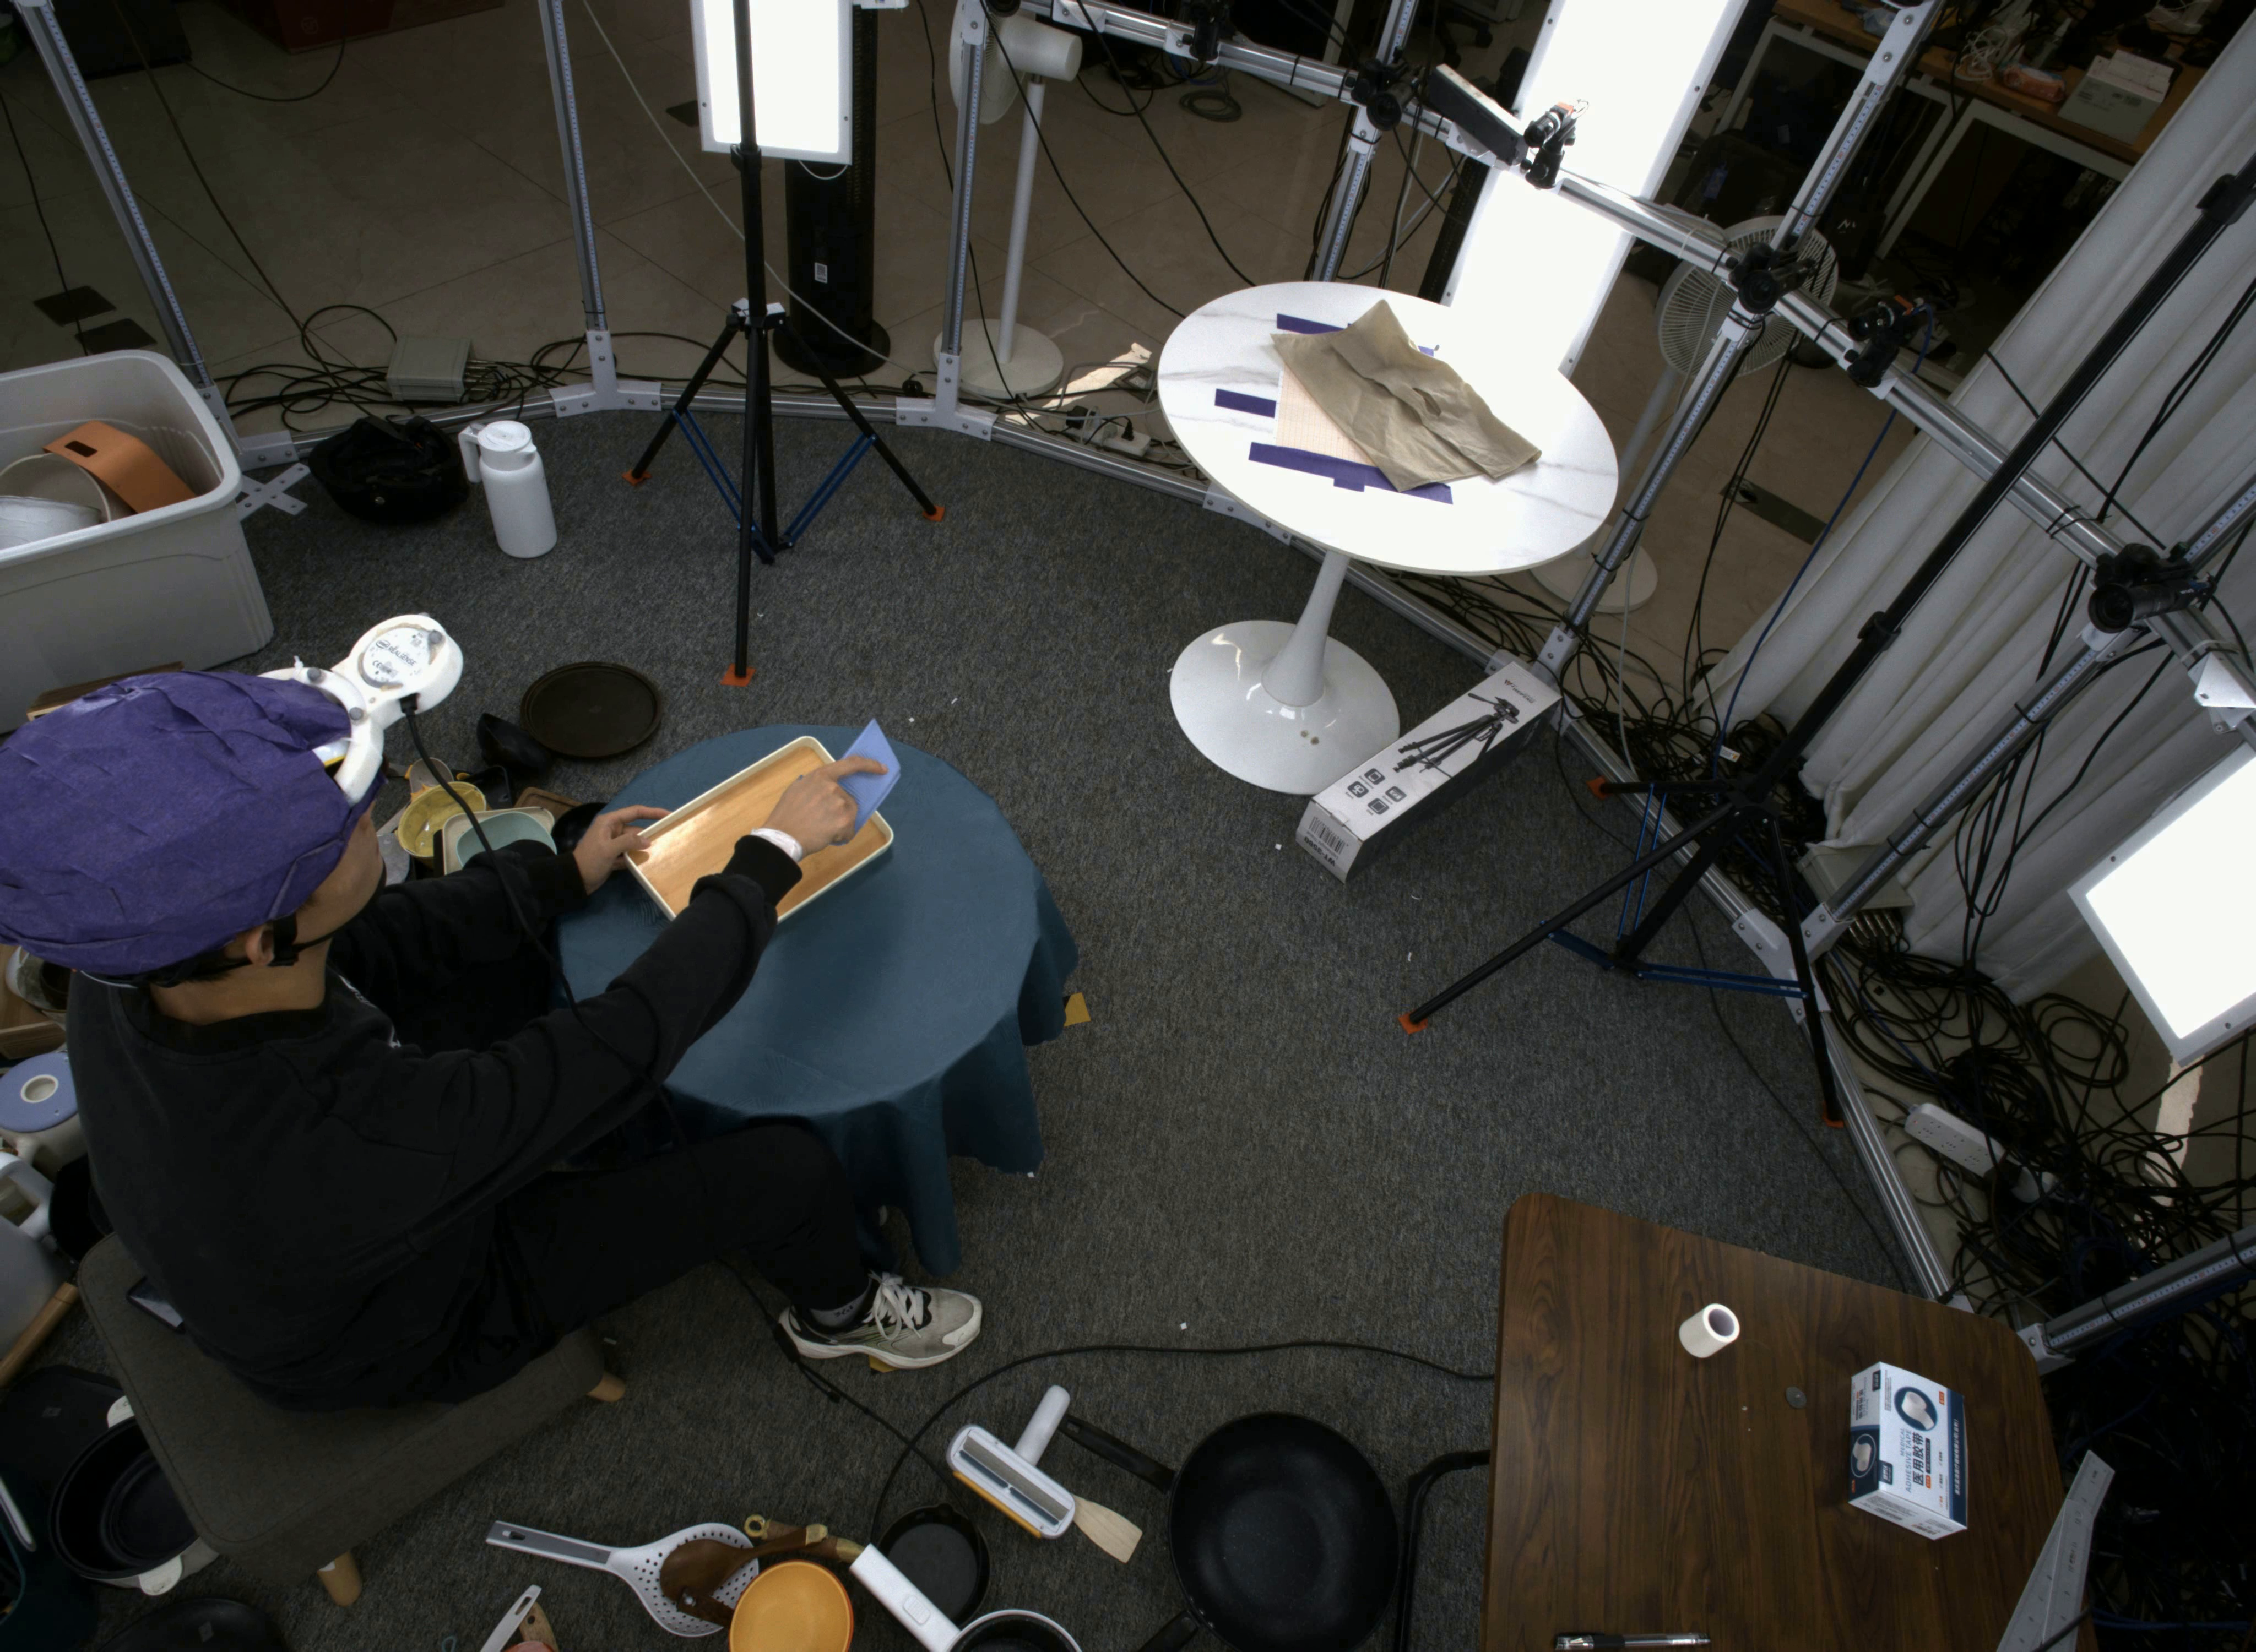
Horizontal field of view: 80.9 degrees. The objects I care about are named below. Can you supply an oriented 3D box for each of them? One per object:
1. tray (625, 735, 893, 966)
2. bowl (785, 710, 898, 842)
[{"bbox_3d":[-0.467,0.024,1.651,0.301,0.027,0.191,-38,87,-34],"label":"tray"},{"bbox_3d":[-0.336,-0.048,1.562,0.071,0.175,0.174,36,50,-12],"label":"bowl"}]
